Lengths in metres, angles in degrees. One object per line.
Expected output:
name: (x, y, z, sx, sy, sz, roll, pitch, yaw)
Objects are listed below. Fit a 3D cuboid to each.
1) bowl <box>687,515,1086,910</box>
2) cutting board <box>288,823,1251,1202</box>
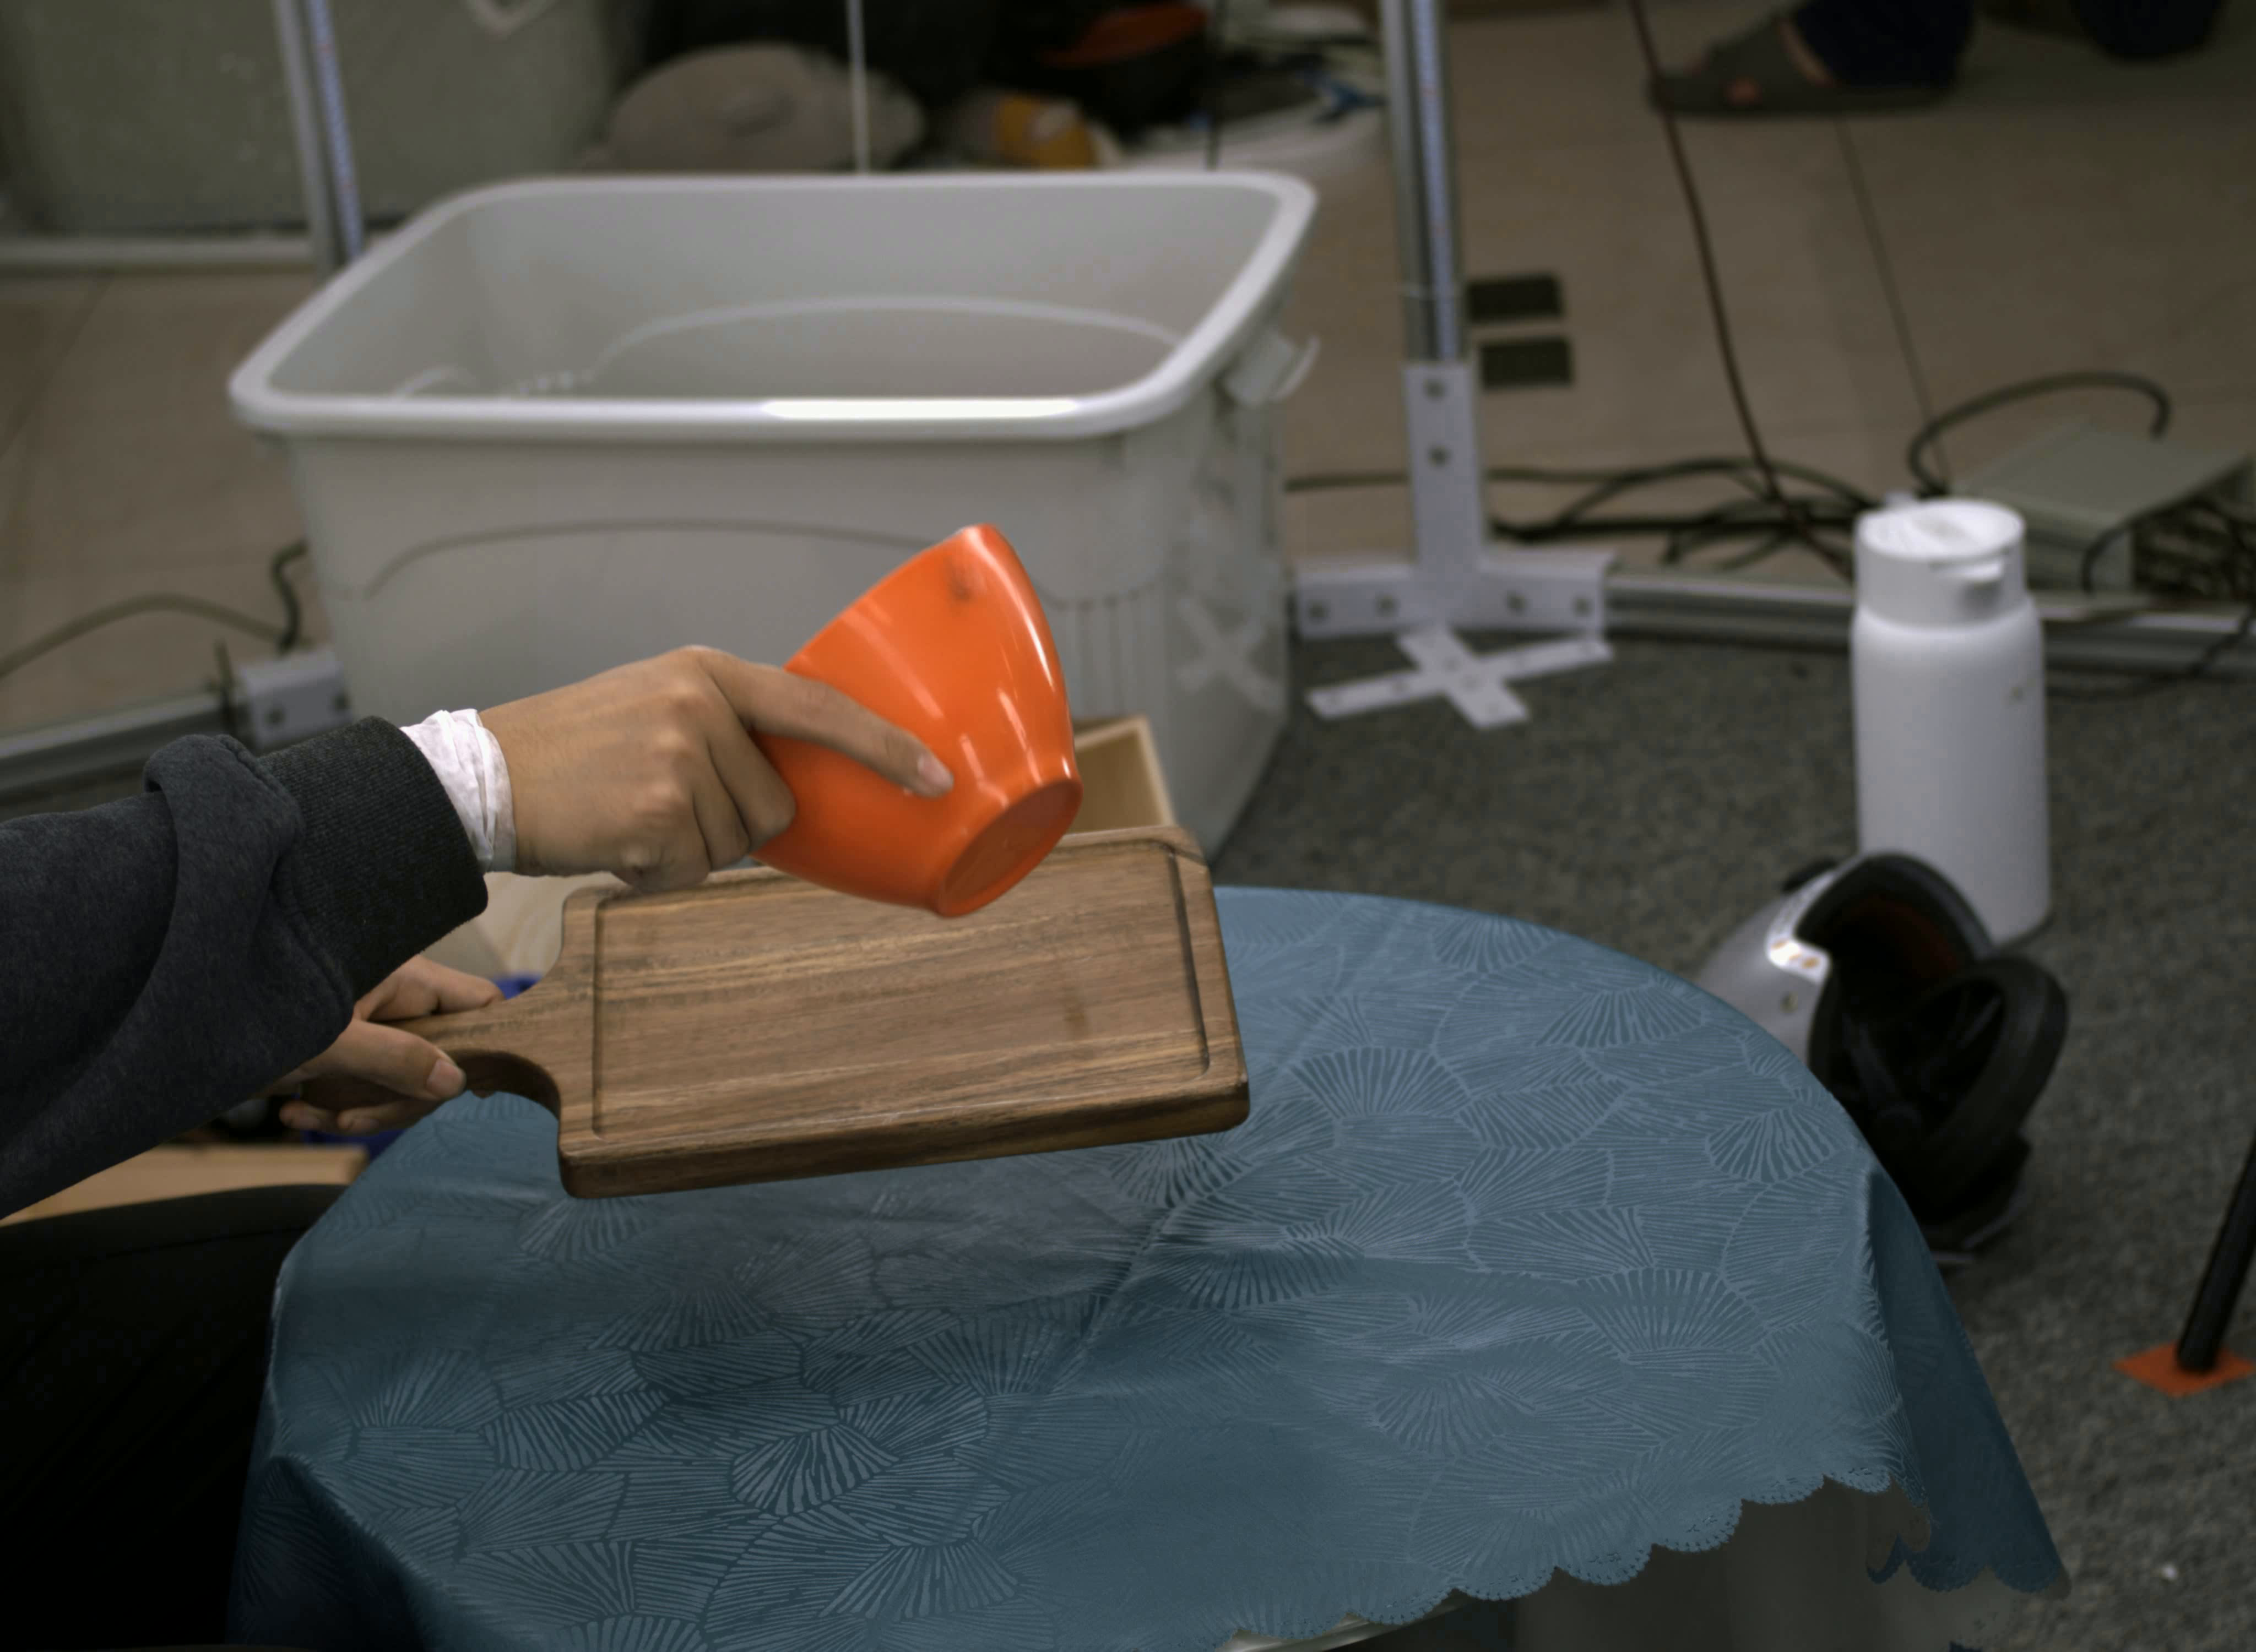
bowl: (-0.070, -0.027, 1.931, 0.147, 0.150, 0.104, -28, 65, -39)
cutting board: (-0.137, 0.072, 2.115, 0.351, 0.023, 0.198, -6, 31, -2)
